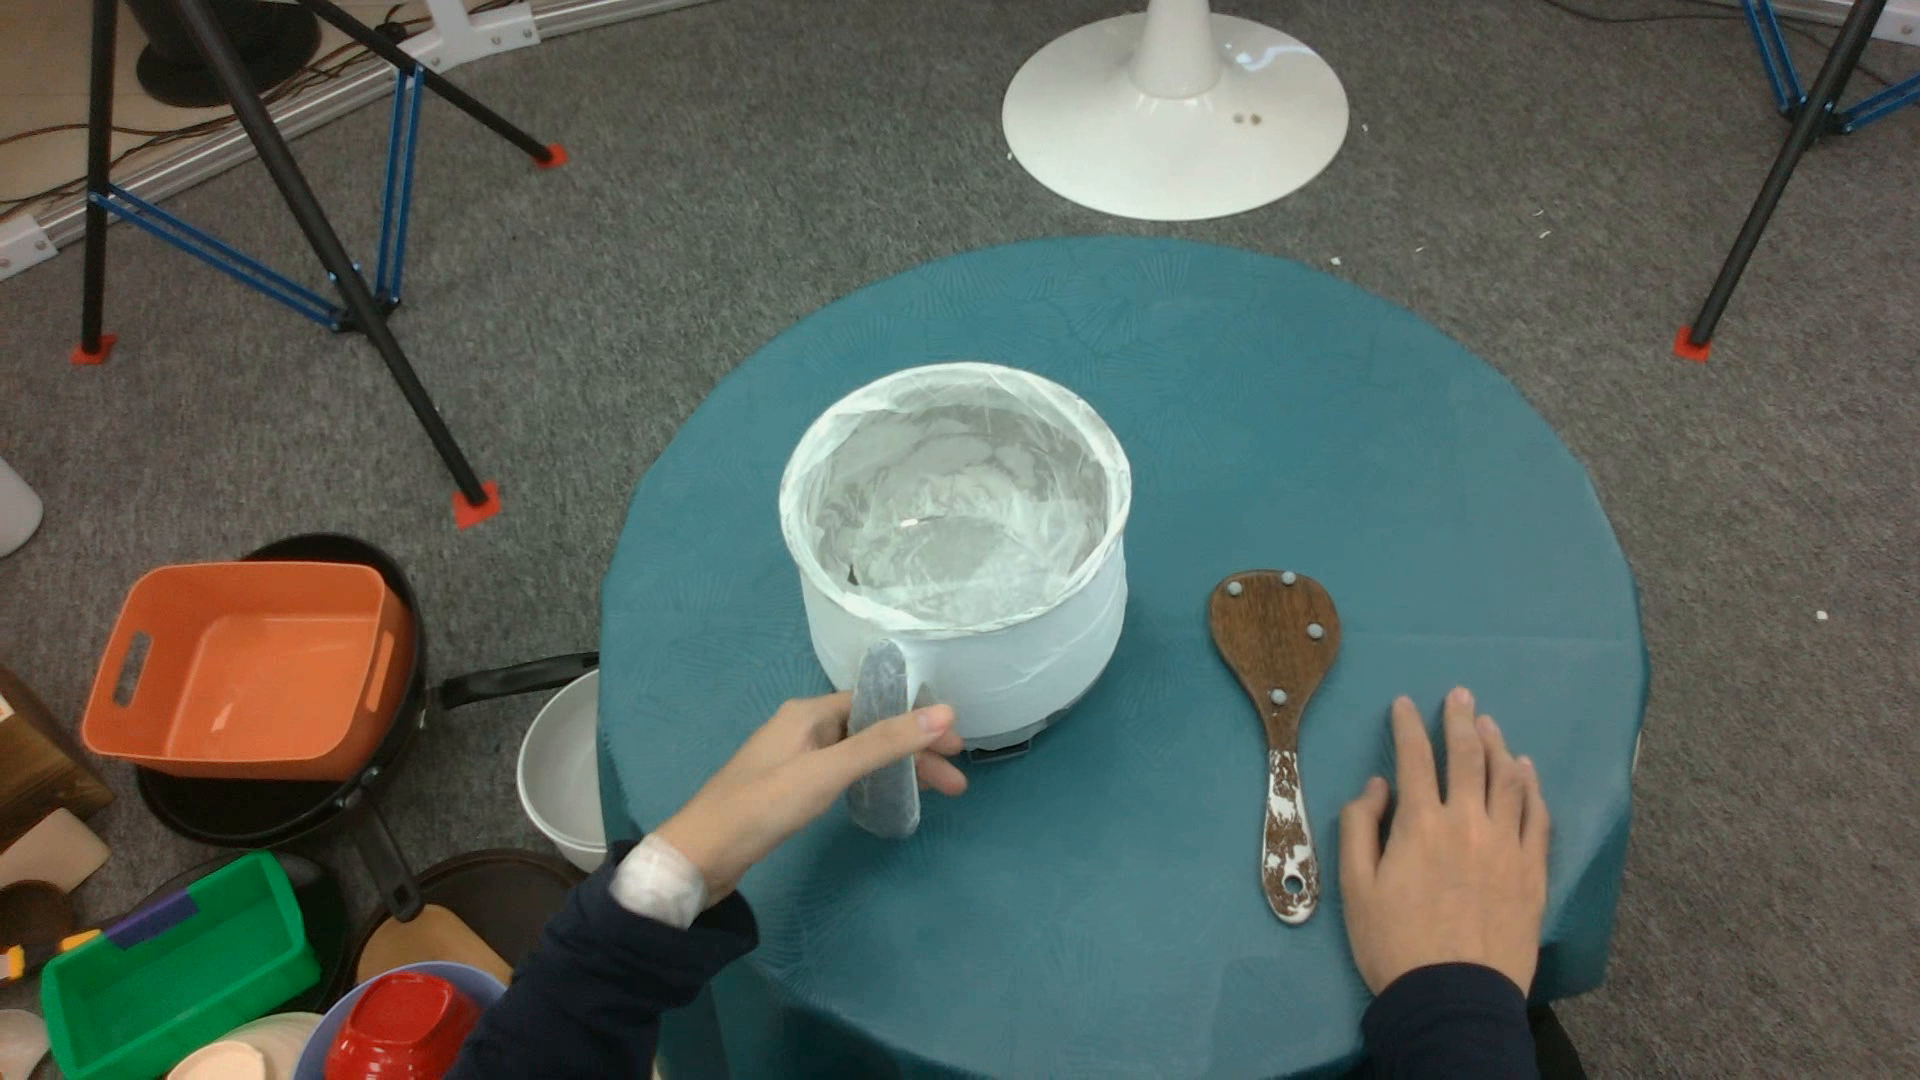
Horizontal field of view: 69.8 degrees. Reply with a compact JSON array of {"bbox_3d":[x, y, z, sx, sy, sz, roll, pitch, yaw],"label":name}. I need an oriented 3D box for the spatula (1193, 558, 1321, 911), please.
[{"bbox_3d":[0.162,0.096,0.741,0.072,0.009,0.217,2,54,6],"label":"spatula"}]

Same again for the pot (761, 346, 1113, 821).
[{"bbox_3d":[-0.015,0.024,0.721,0.178,0.136,0.235,10,53,14],"label":"pot"}]
